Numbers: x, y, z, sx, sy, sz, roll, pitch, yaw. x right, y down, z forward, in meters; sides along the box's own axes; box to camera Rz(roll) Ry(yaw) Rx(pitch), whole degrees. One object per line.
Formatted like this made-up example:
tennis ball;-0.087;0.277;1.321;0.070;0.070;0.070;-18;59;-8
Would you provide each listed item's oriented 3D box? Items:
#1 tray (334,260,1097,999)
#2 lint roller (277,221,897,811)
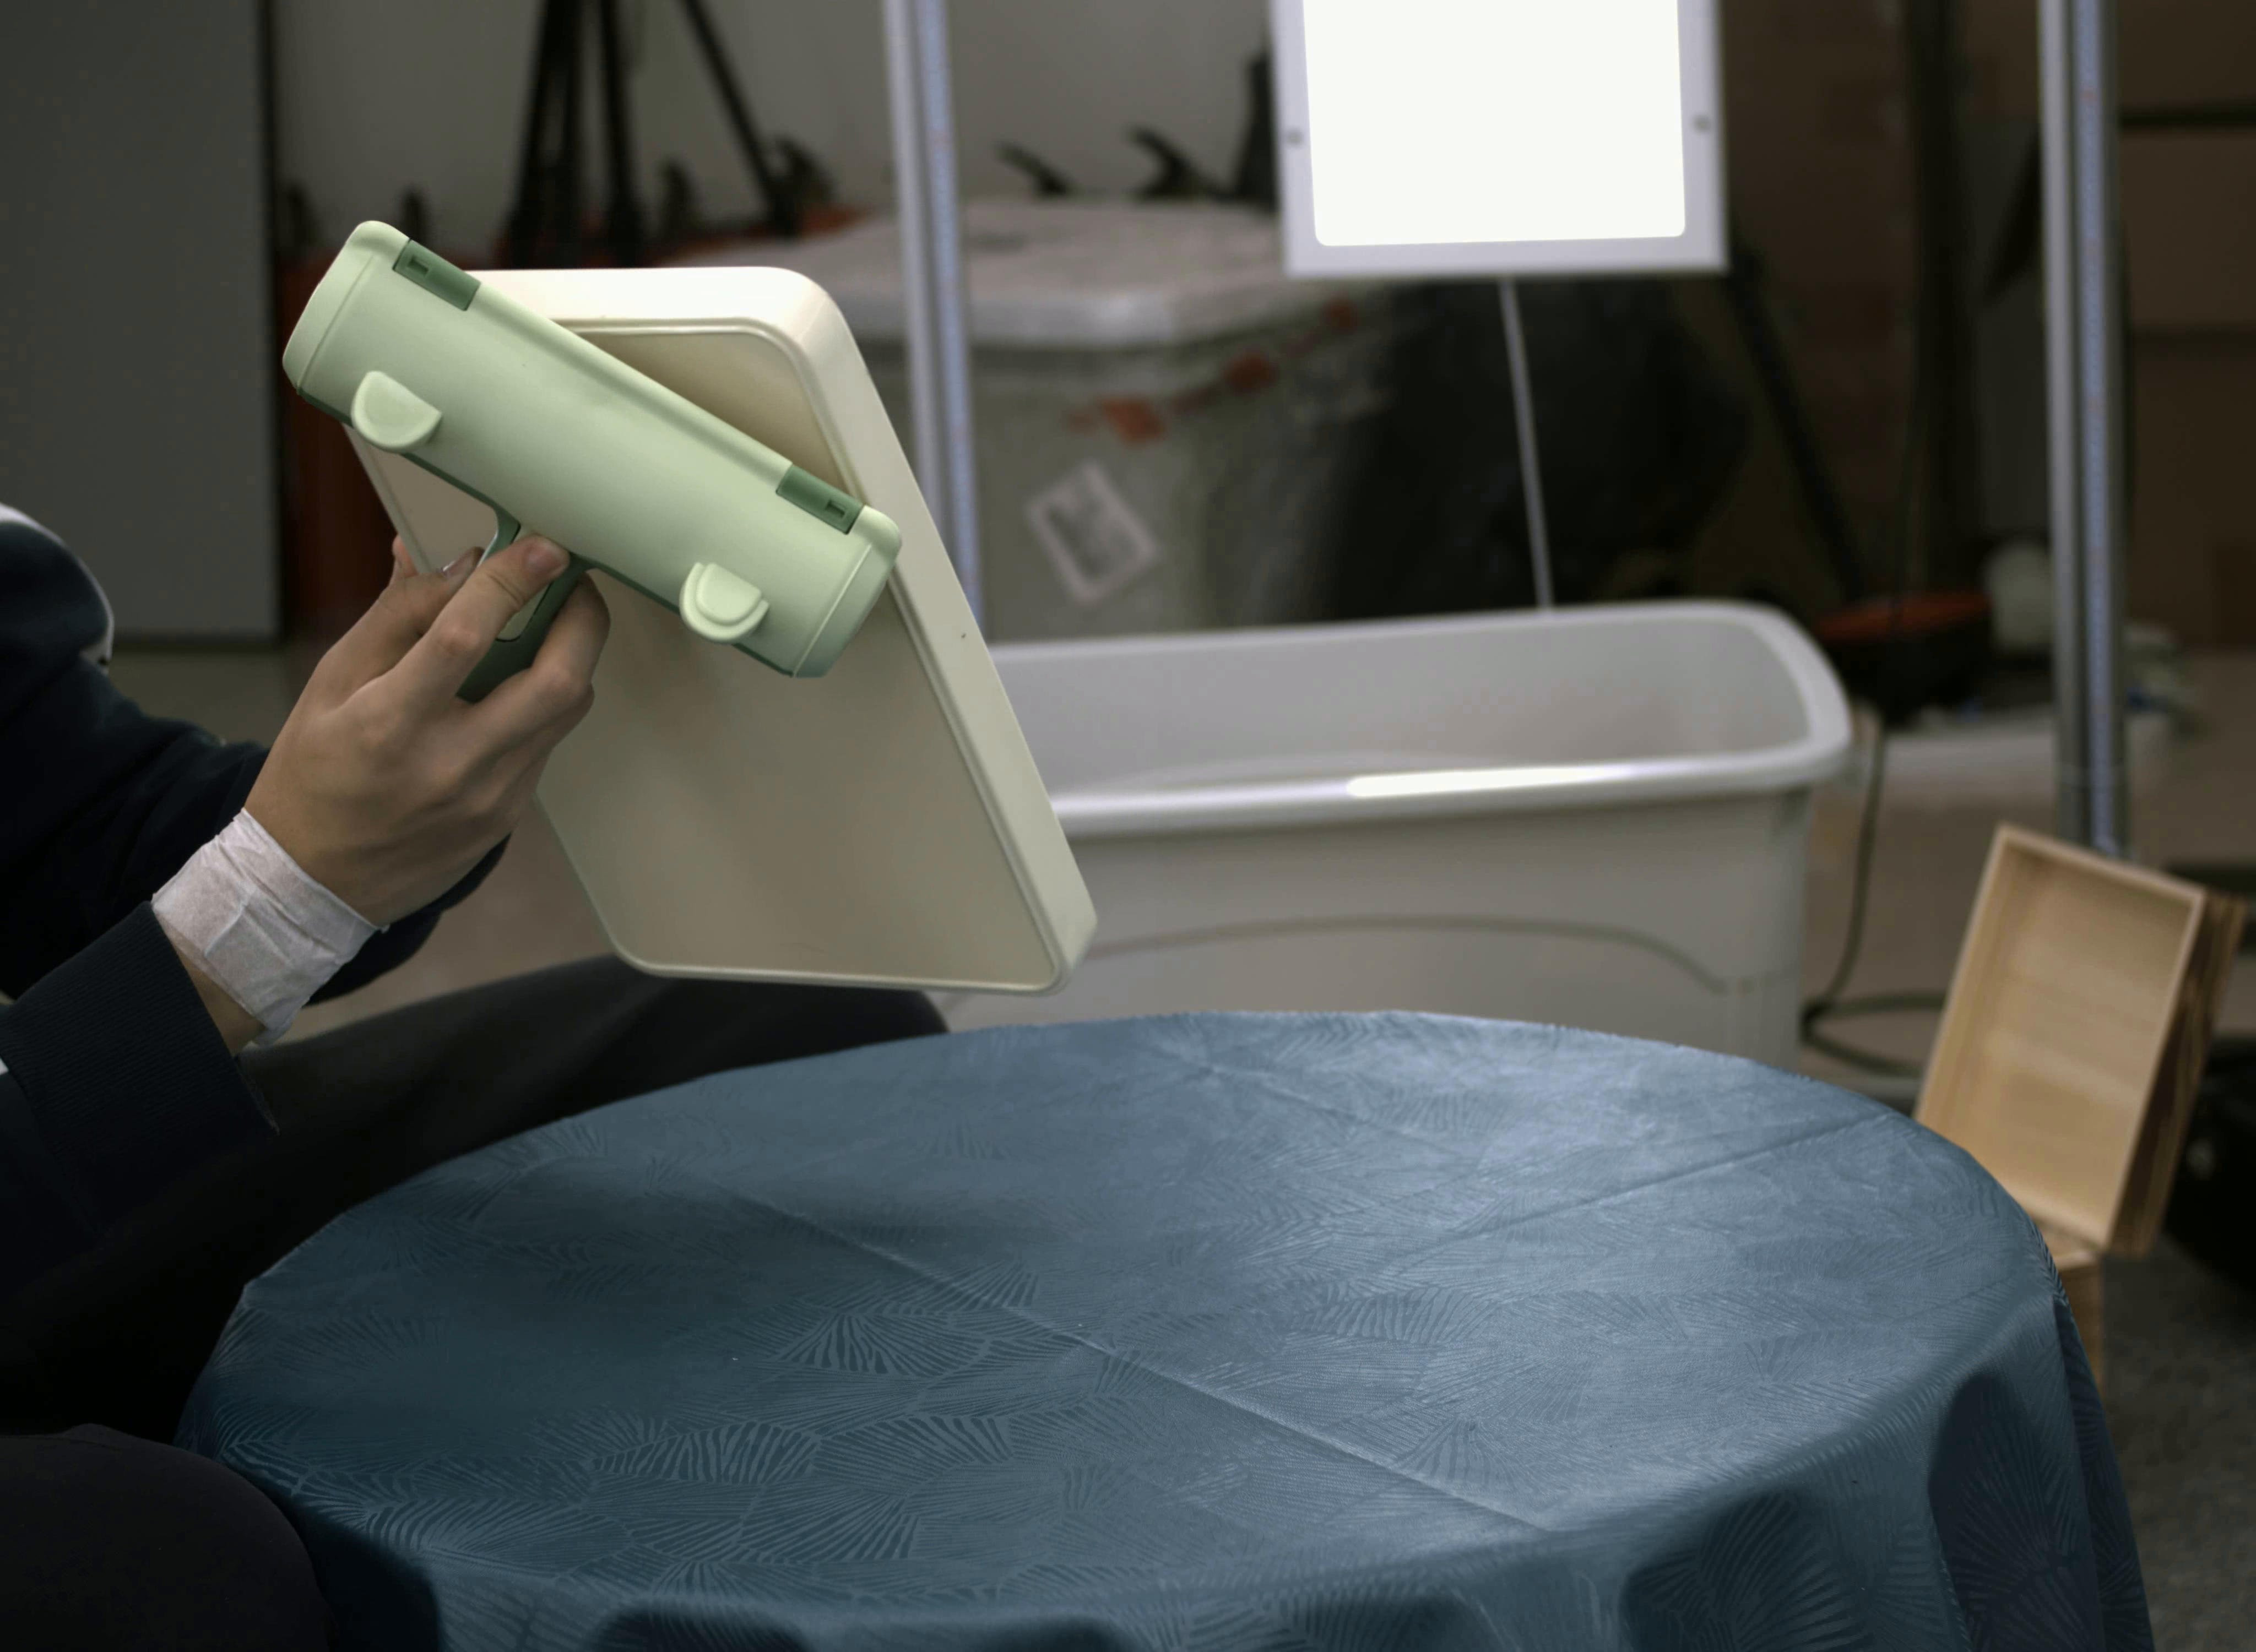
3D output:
tray;-0.137;-0.059;1.821;0.195;0.299;0.027;2;44;29
lint roller;-0.196;-0.068;1.730;0.198;0.186;0.081;30;23;-3
